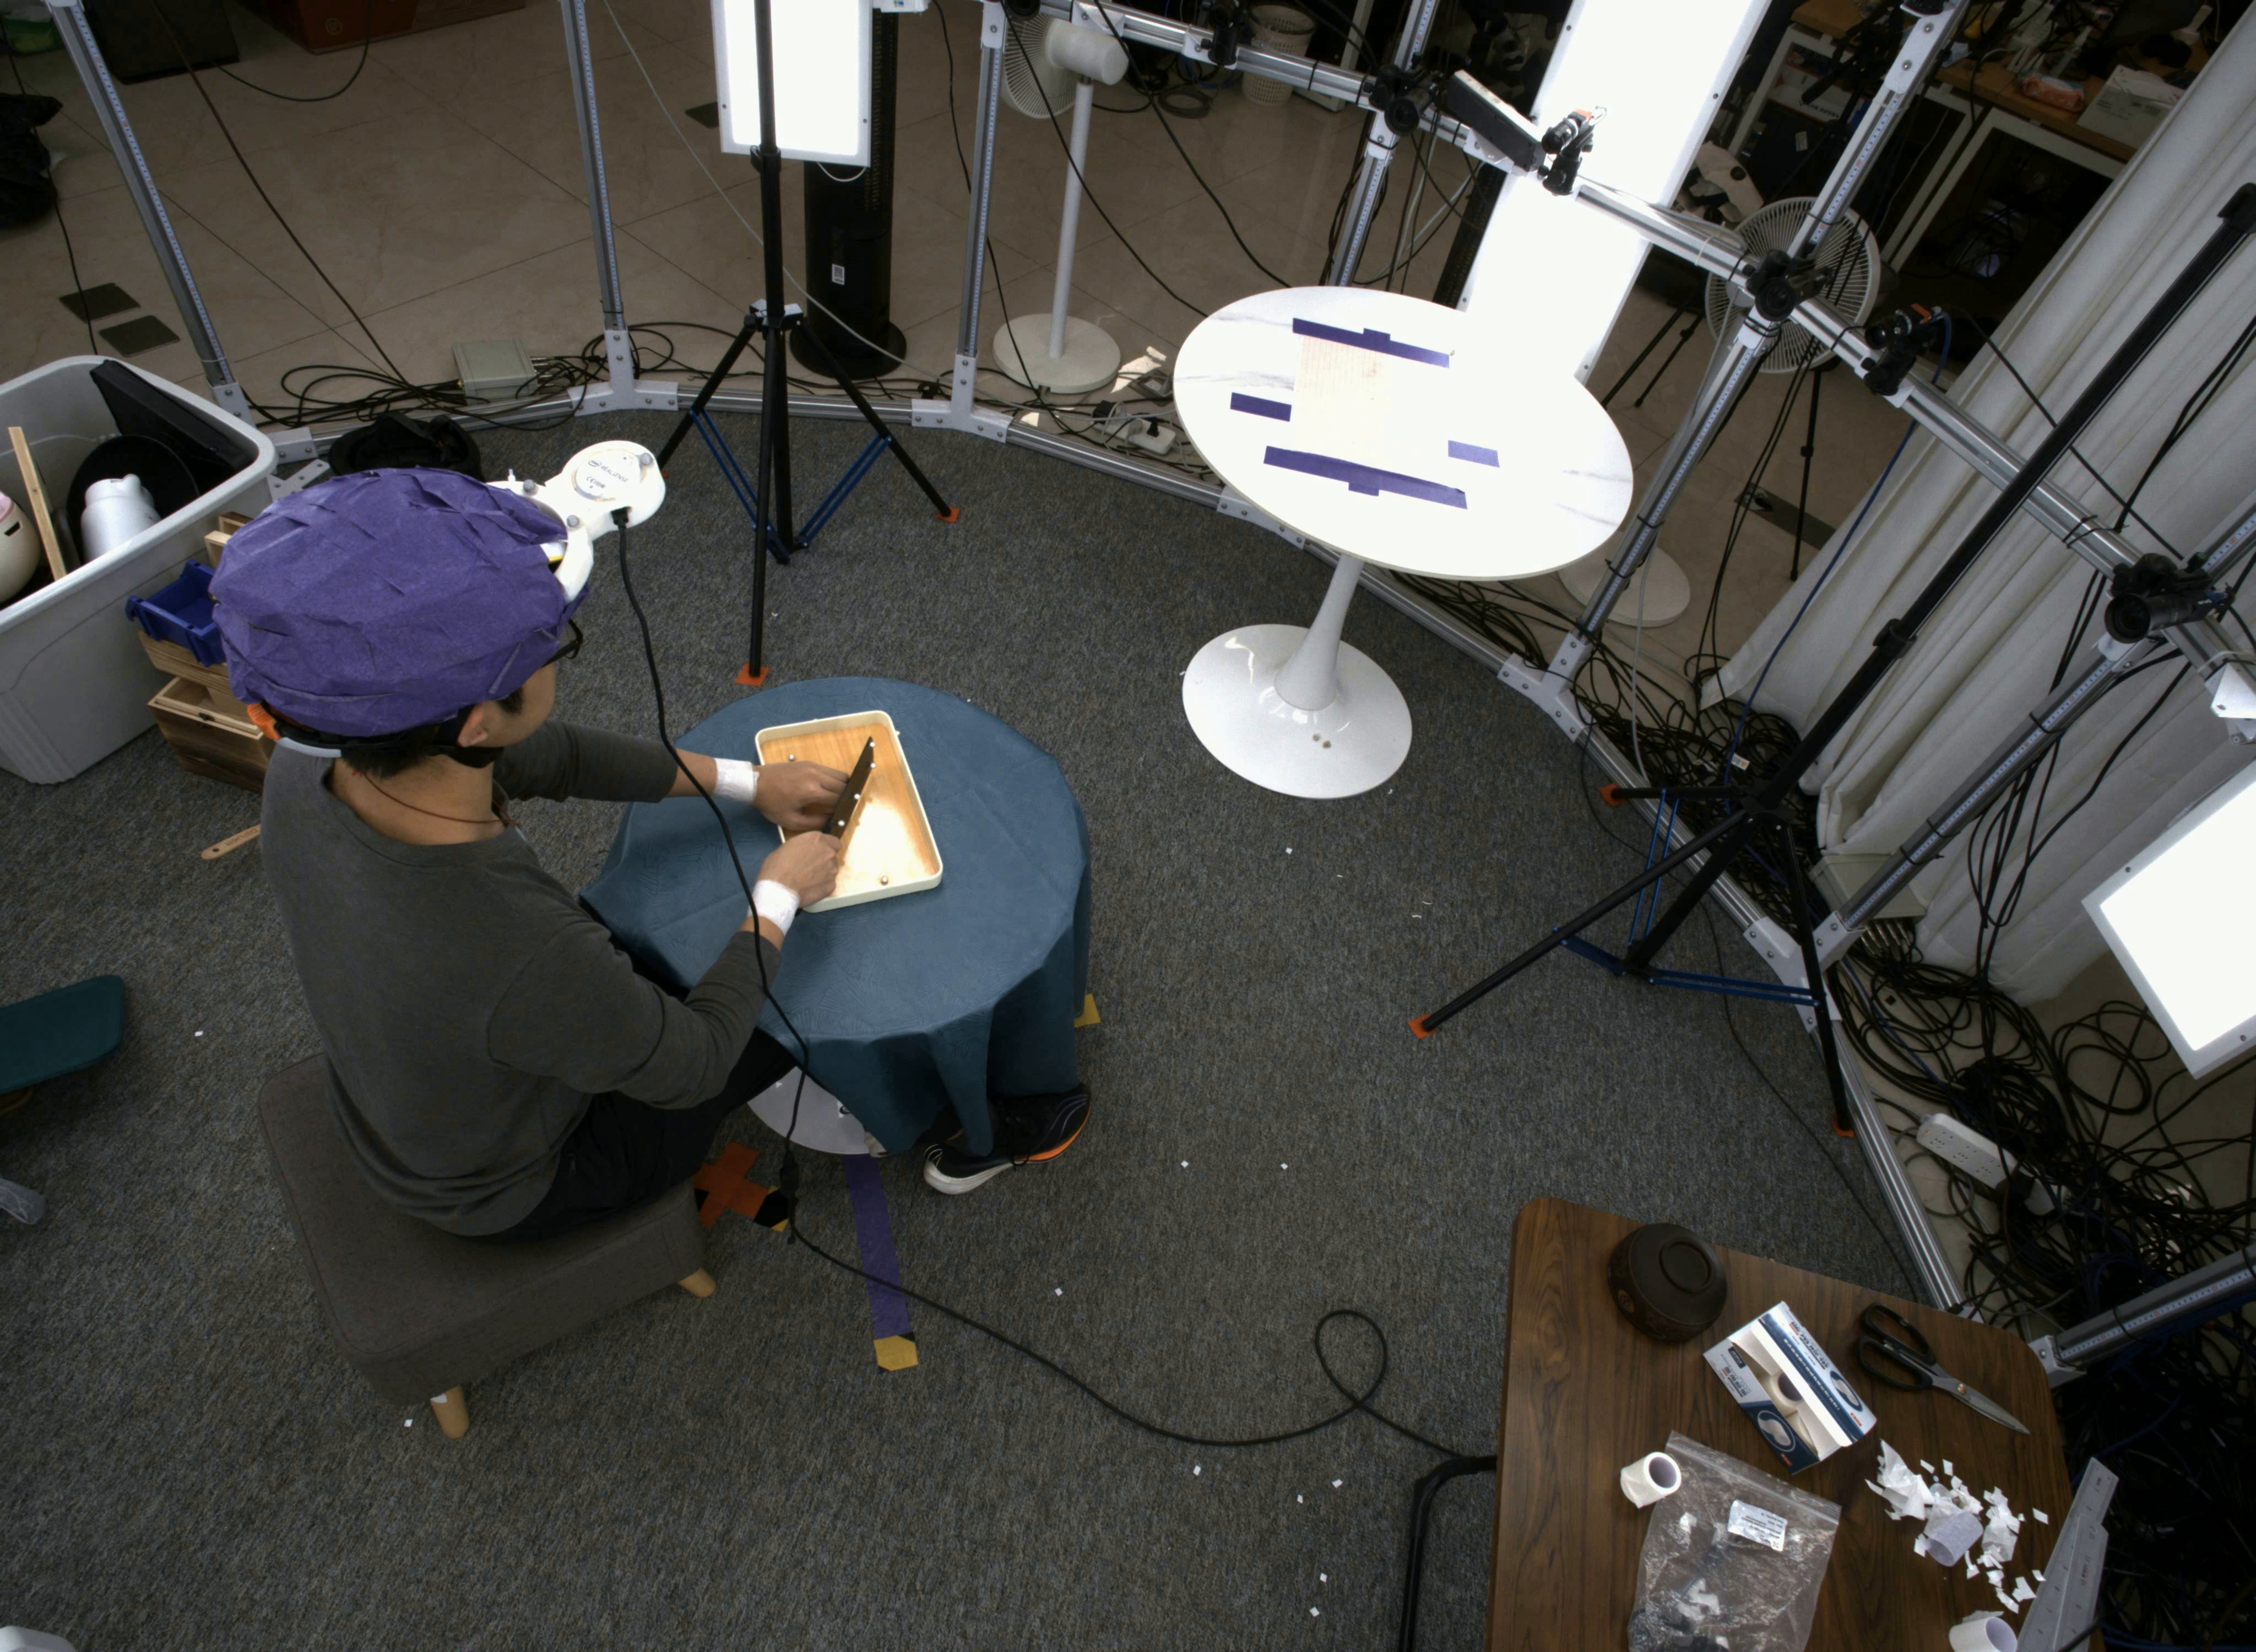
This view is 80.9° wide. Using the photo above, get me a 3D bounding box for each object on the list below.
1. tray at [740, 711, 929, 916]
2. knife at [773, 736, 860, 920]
[{"bbox_3d":[-0.397,-0.025,1.743,0.192,0.028,0.293,-12,58,-22],"label":"tray"},{"bbox_3d":[-0.396,0.002,1.673,0.020,0.083,0.298,11,44,4],"label":"knife"}]
